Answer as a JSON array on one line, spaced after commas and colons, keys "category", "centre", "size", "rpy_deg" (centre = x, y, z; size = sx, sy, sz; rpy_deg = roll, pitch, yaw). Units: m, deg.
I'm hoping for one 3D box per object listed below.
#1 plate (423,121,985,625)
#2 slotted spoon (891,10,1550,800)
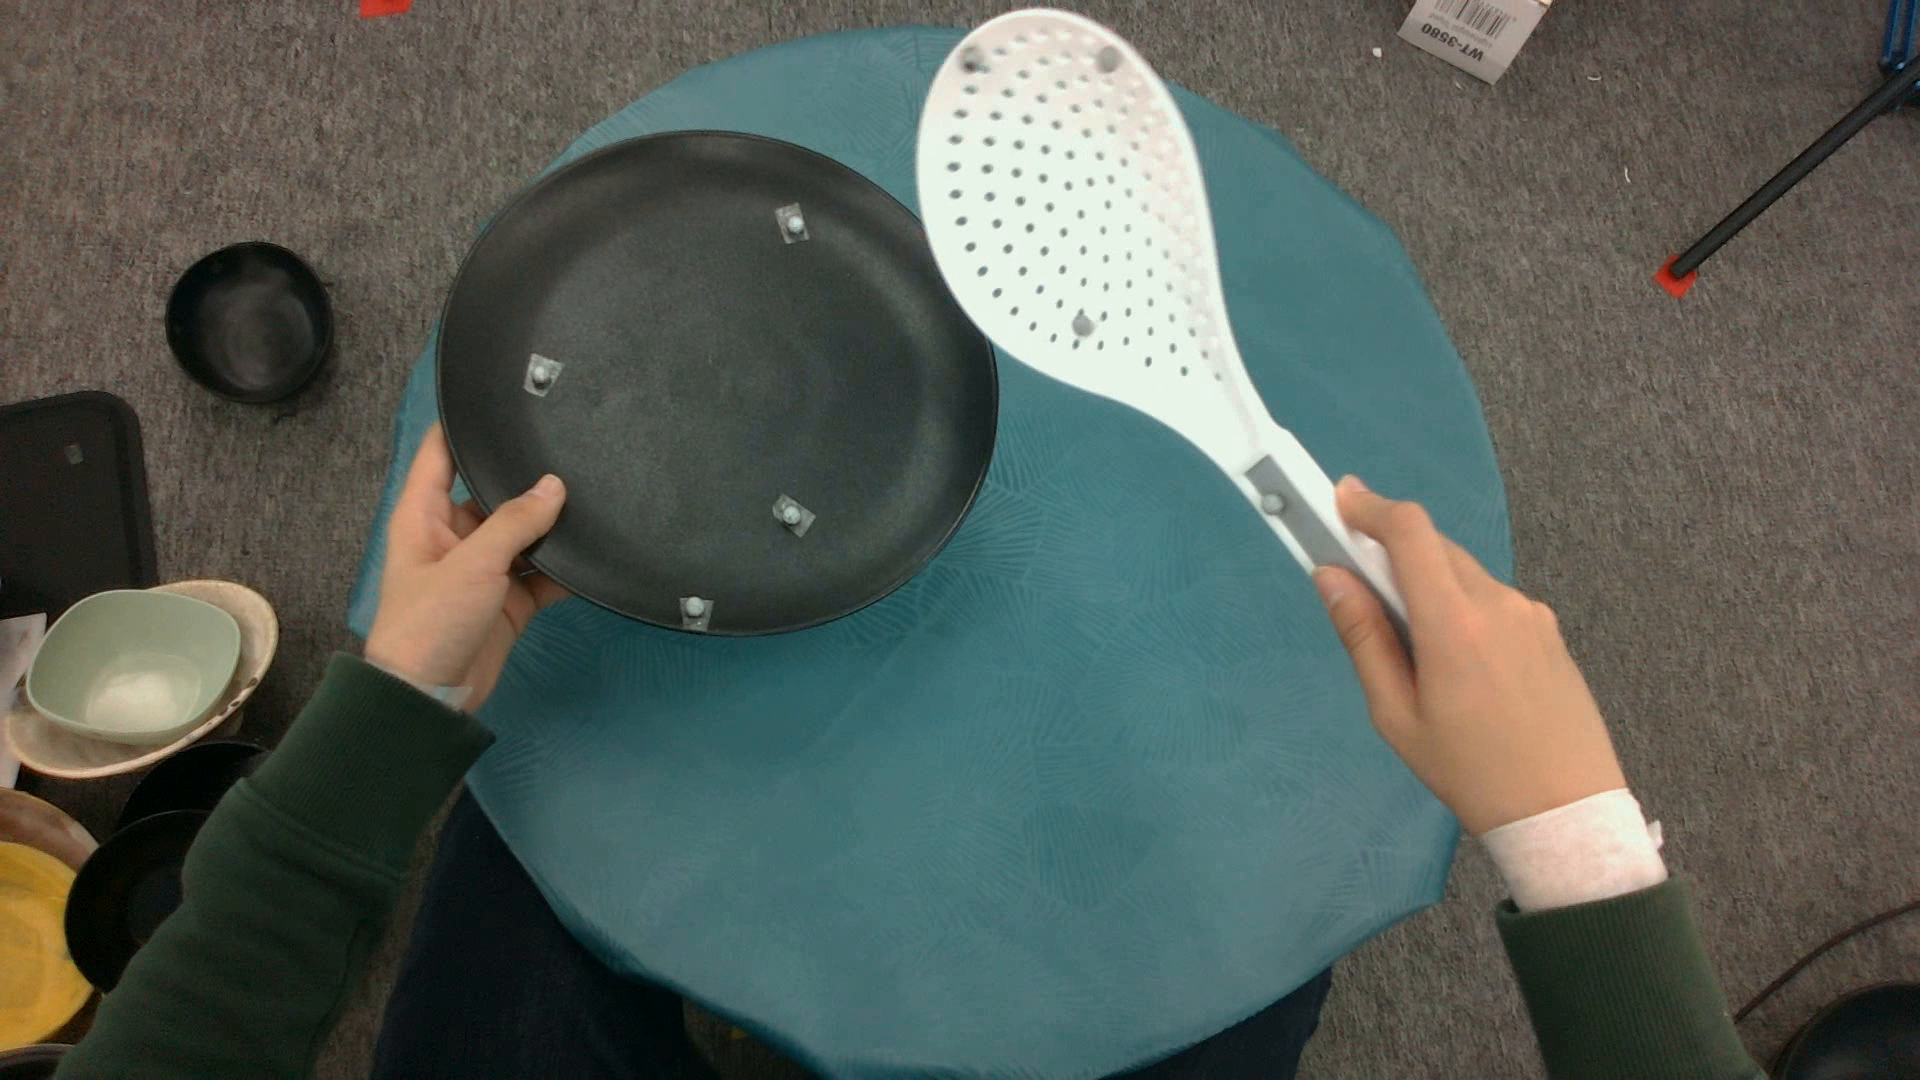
[{"category": "plate", "centre": [-0.109, -0.077, 0.614], "size": [0.244, 0.023, 0.245], "rpy_deg": [5, 70, -13]}, {"category": "slotted spoon", "centre": [0.095, -0.048, 0.510], "size": [0.046, 0.135, 0.350], "rpy_deg": [-29, 79, -34]}]
